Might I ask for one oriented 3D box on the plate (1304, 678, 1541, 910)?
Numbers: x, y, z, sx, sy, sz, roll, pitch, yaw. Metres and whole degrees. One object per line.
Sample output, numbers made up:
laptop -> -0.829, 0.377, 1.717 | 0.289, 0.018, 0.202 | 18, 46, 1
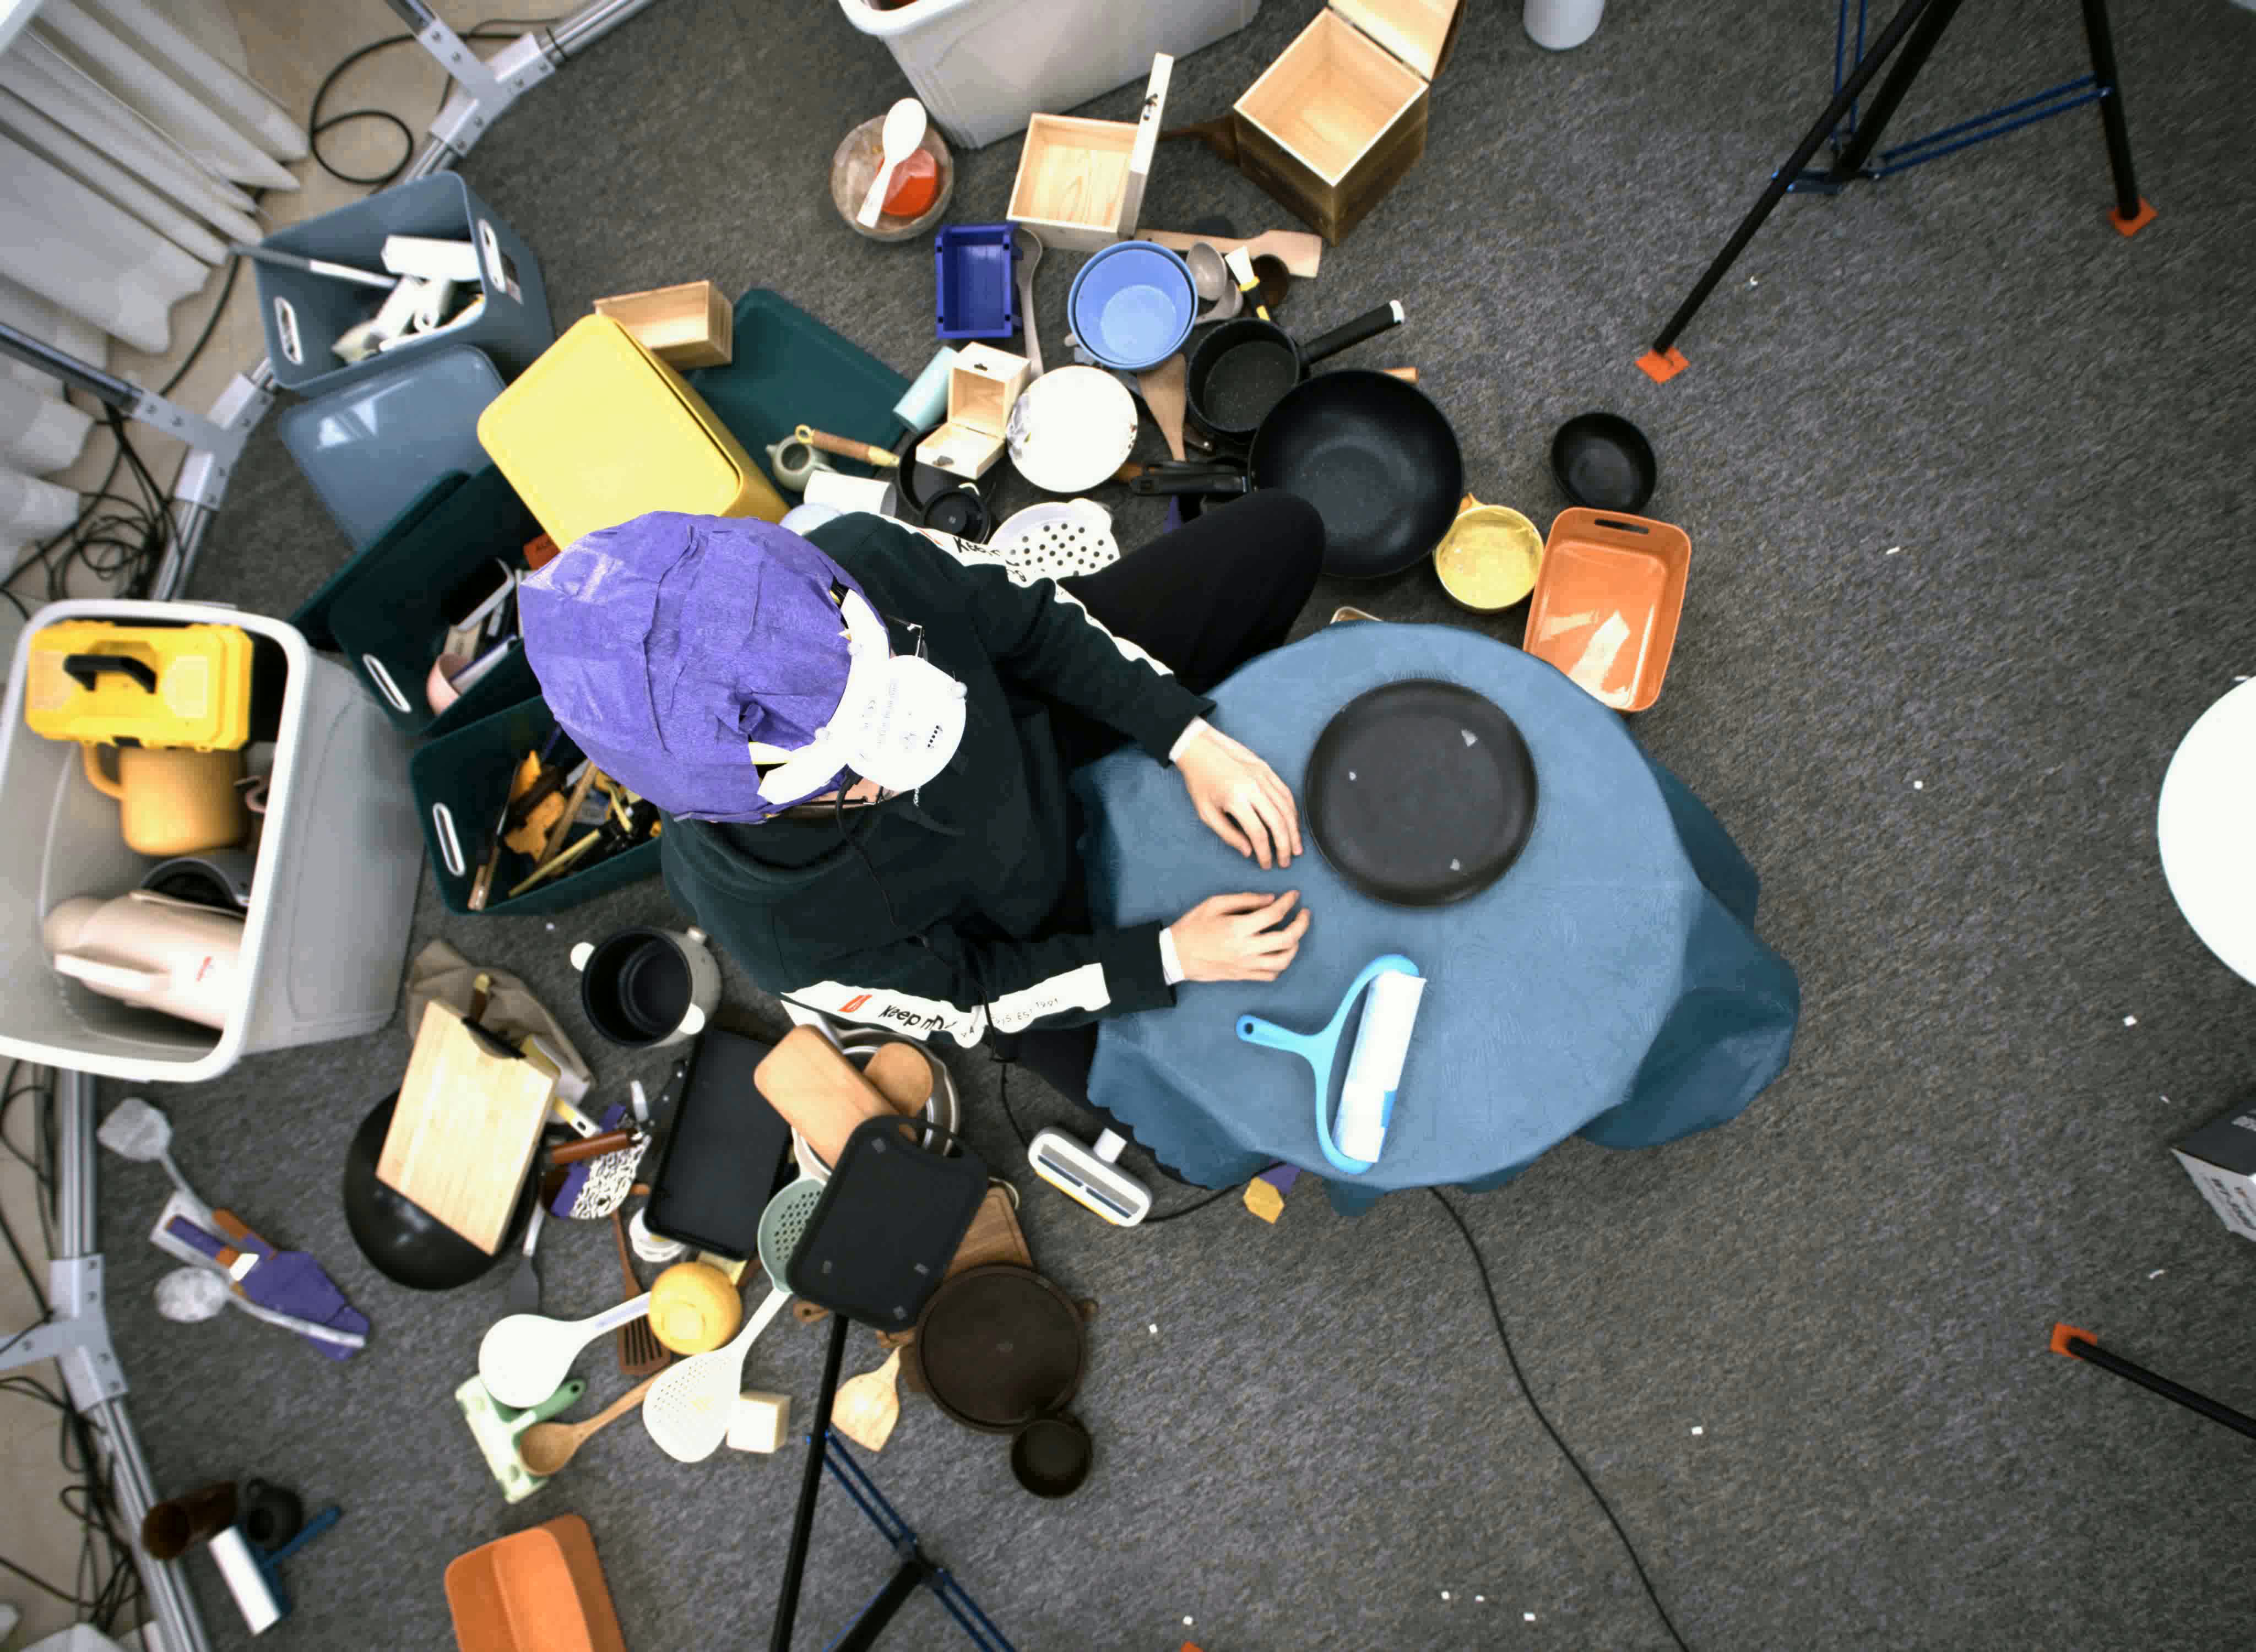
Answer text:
plate -> 0.307, -0.036, 1.442 | 0.245, 0.023, 0.243 | -1, 87, 10

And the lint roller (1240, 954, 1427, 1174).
lint roller -> 0.201, 0.231, 1.431 | 0.180, 0.068, 0.228 | 11, 90, 10
